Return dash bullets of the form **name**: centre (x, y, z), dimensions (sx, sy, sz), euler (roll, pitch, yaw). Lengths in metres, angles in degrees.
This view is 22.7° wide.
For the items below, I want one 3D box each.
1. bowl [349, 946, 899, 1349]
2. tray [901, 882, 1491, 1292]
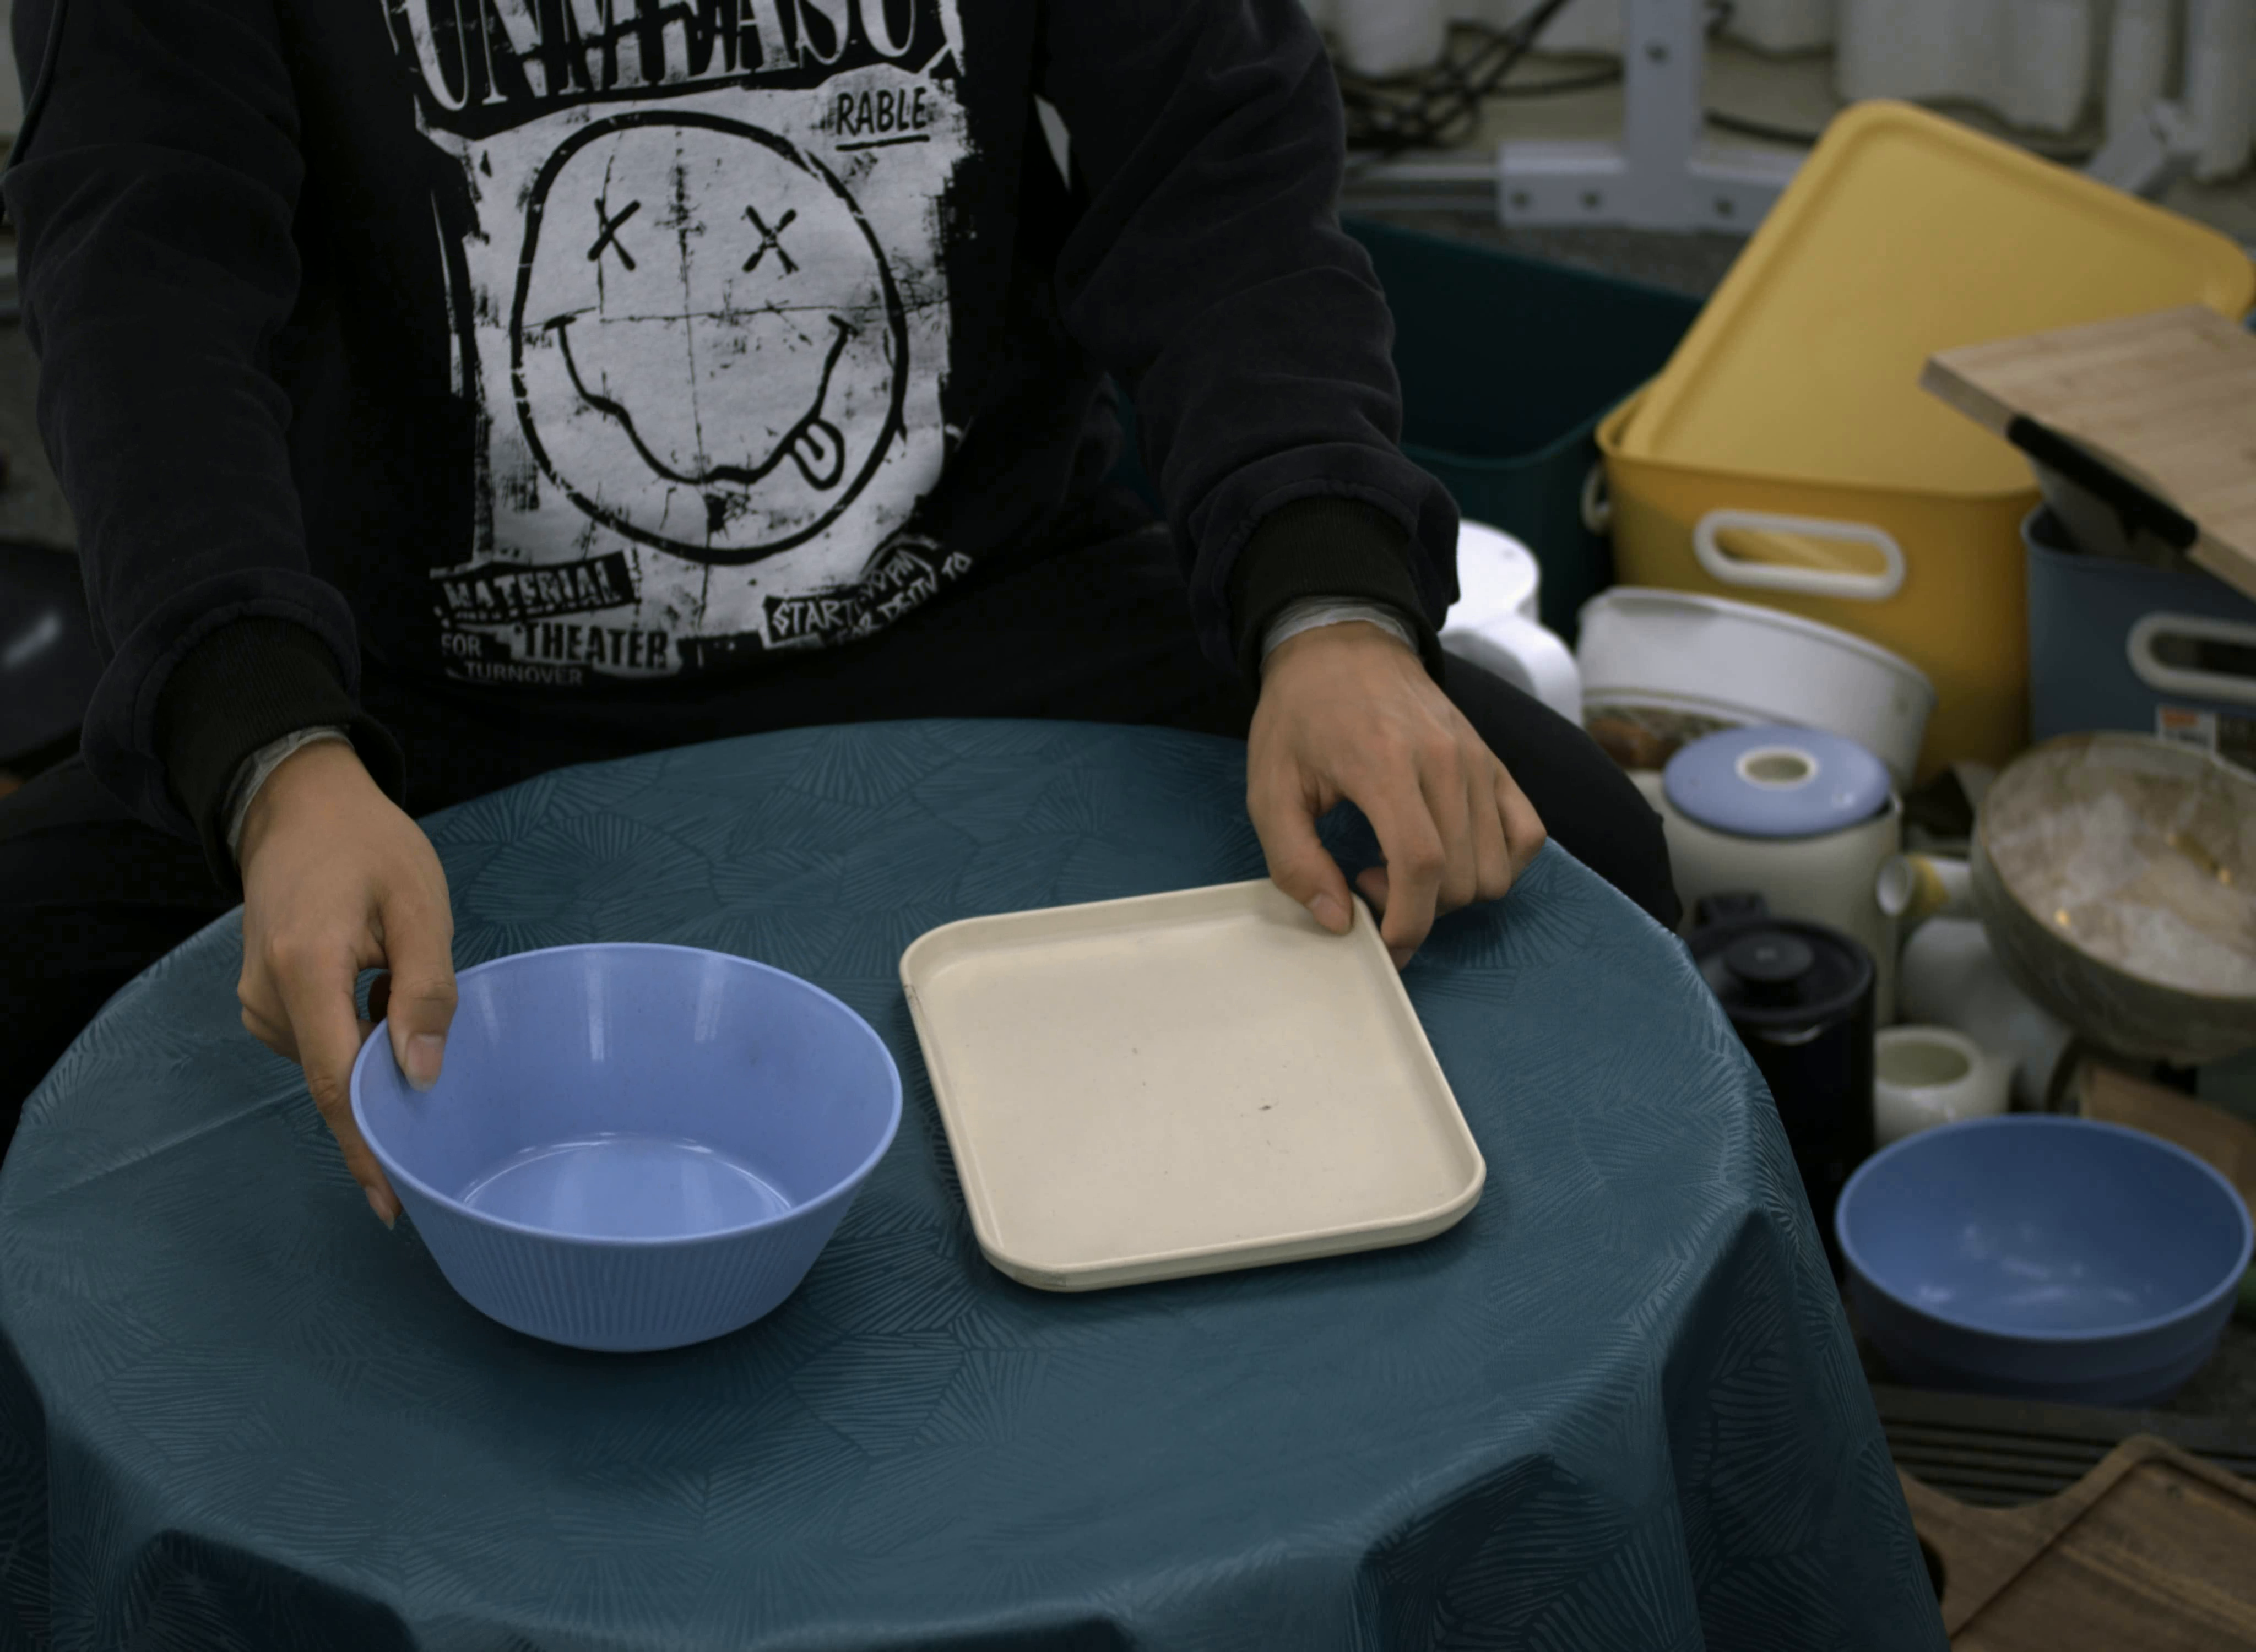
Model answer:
- **bowl**: centre (-0.163, 0.110, 1.809), dimensions (0.175, 0.069, 0.179), euler (5, 29, -2)
- **tray**: centre (0.020, 0.087, 1.907), dimensions (0.171, 0.017, 0.242), euler (-6, 27, -8)
